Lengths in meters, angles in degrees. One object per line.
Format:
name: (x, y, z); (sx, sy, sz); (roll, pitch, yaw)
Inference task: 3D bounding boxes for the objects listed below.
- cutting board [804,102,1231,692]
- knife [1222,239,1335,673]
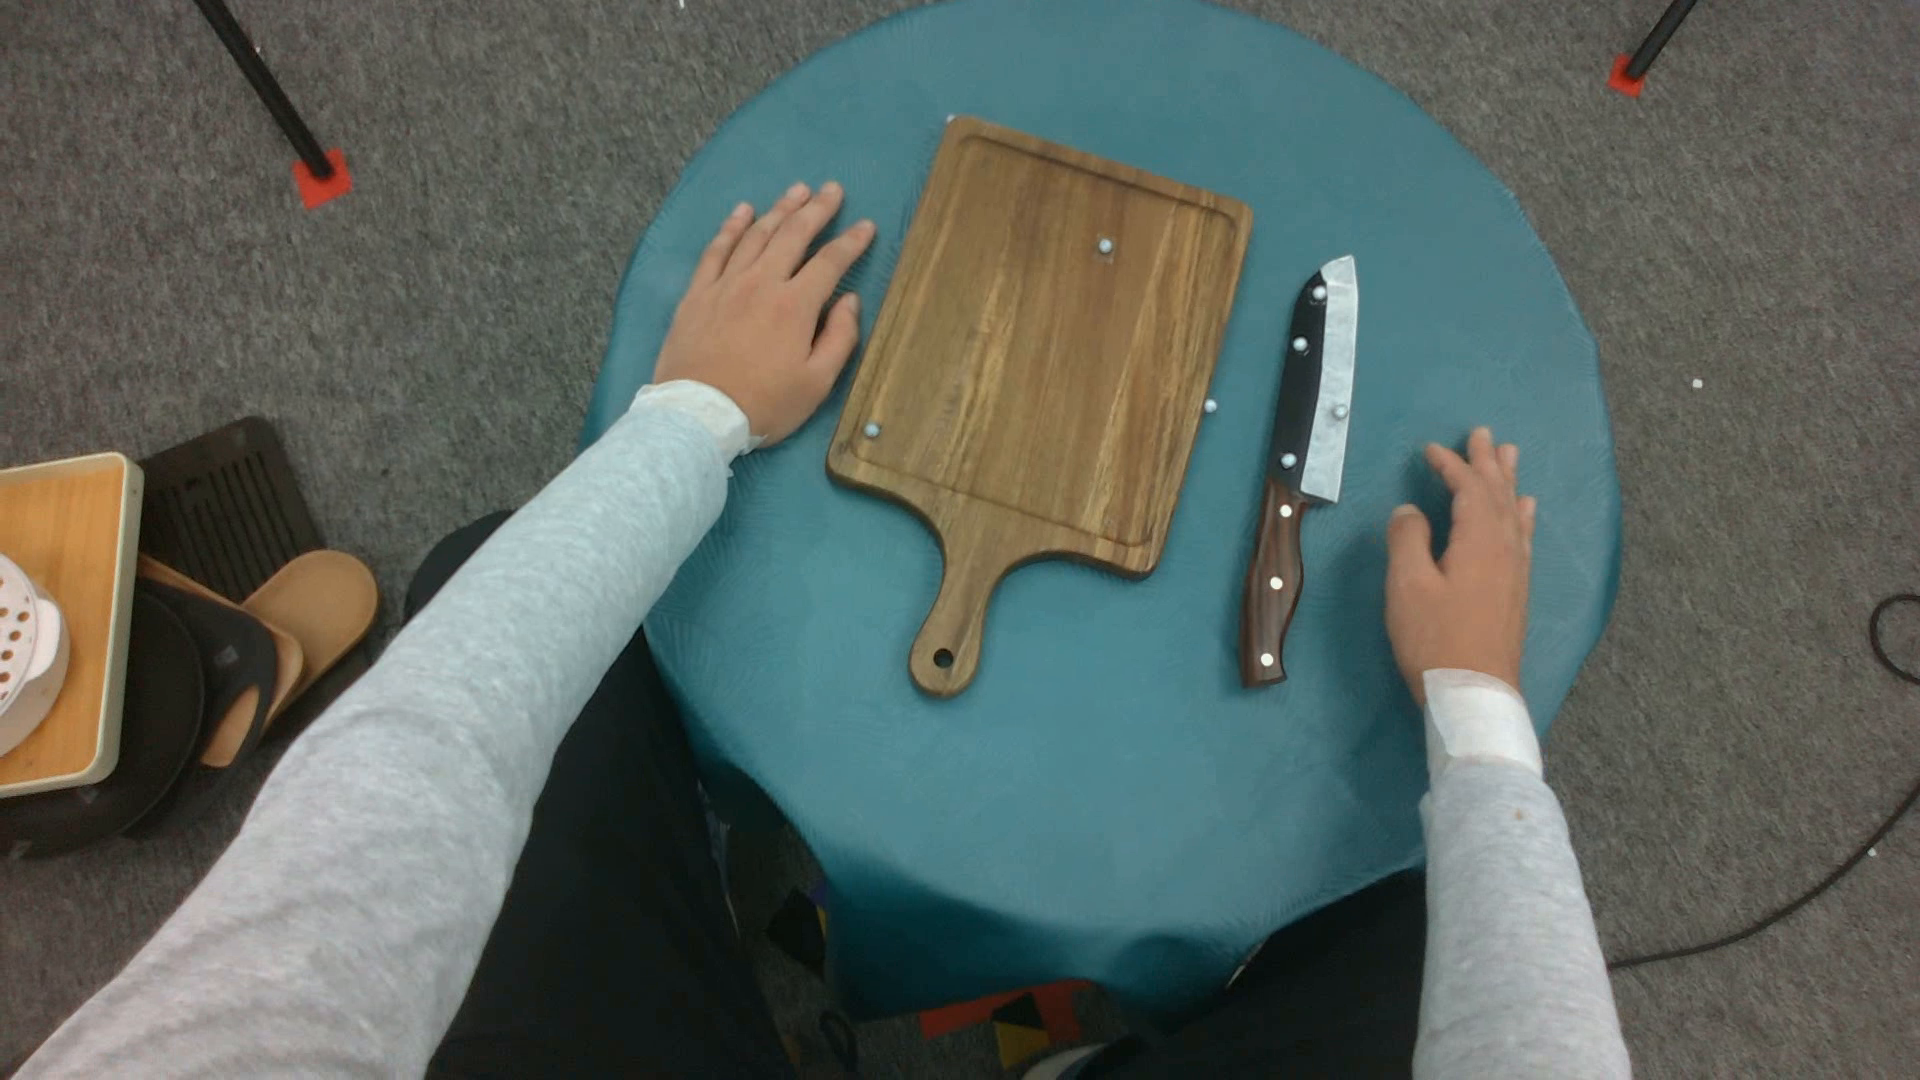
cutting board: (0.025, -0.082, 0.790); (0.201, 0.023, 0.353); (17, 71, 0)
knife: (0.188, -0.057, 0.802); (0.050, 0.020, 0.290); (18, 69, -6)
